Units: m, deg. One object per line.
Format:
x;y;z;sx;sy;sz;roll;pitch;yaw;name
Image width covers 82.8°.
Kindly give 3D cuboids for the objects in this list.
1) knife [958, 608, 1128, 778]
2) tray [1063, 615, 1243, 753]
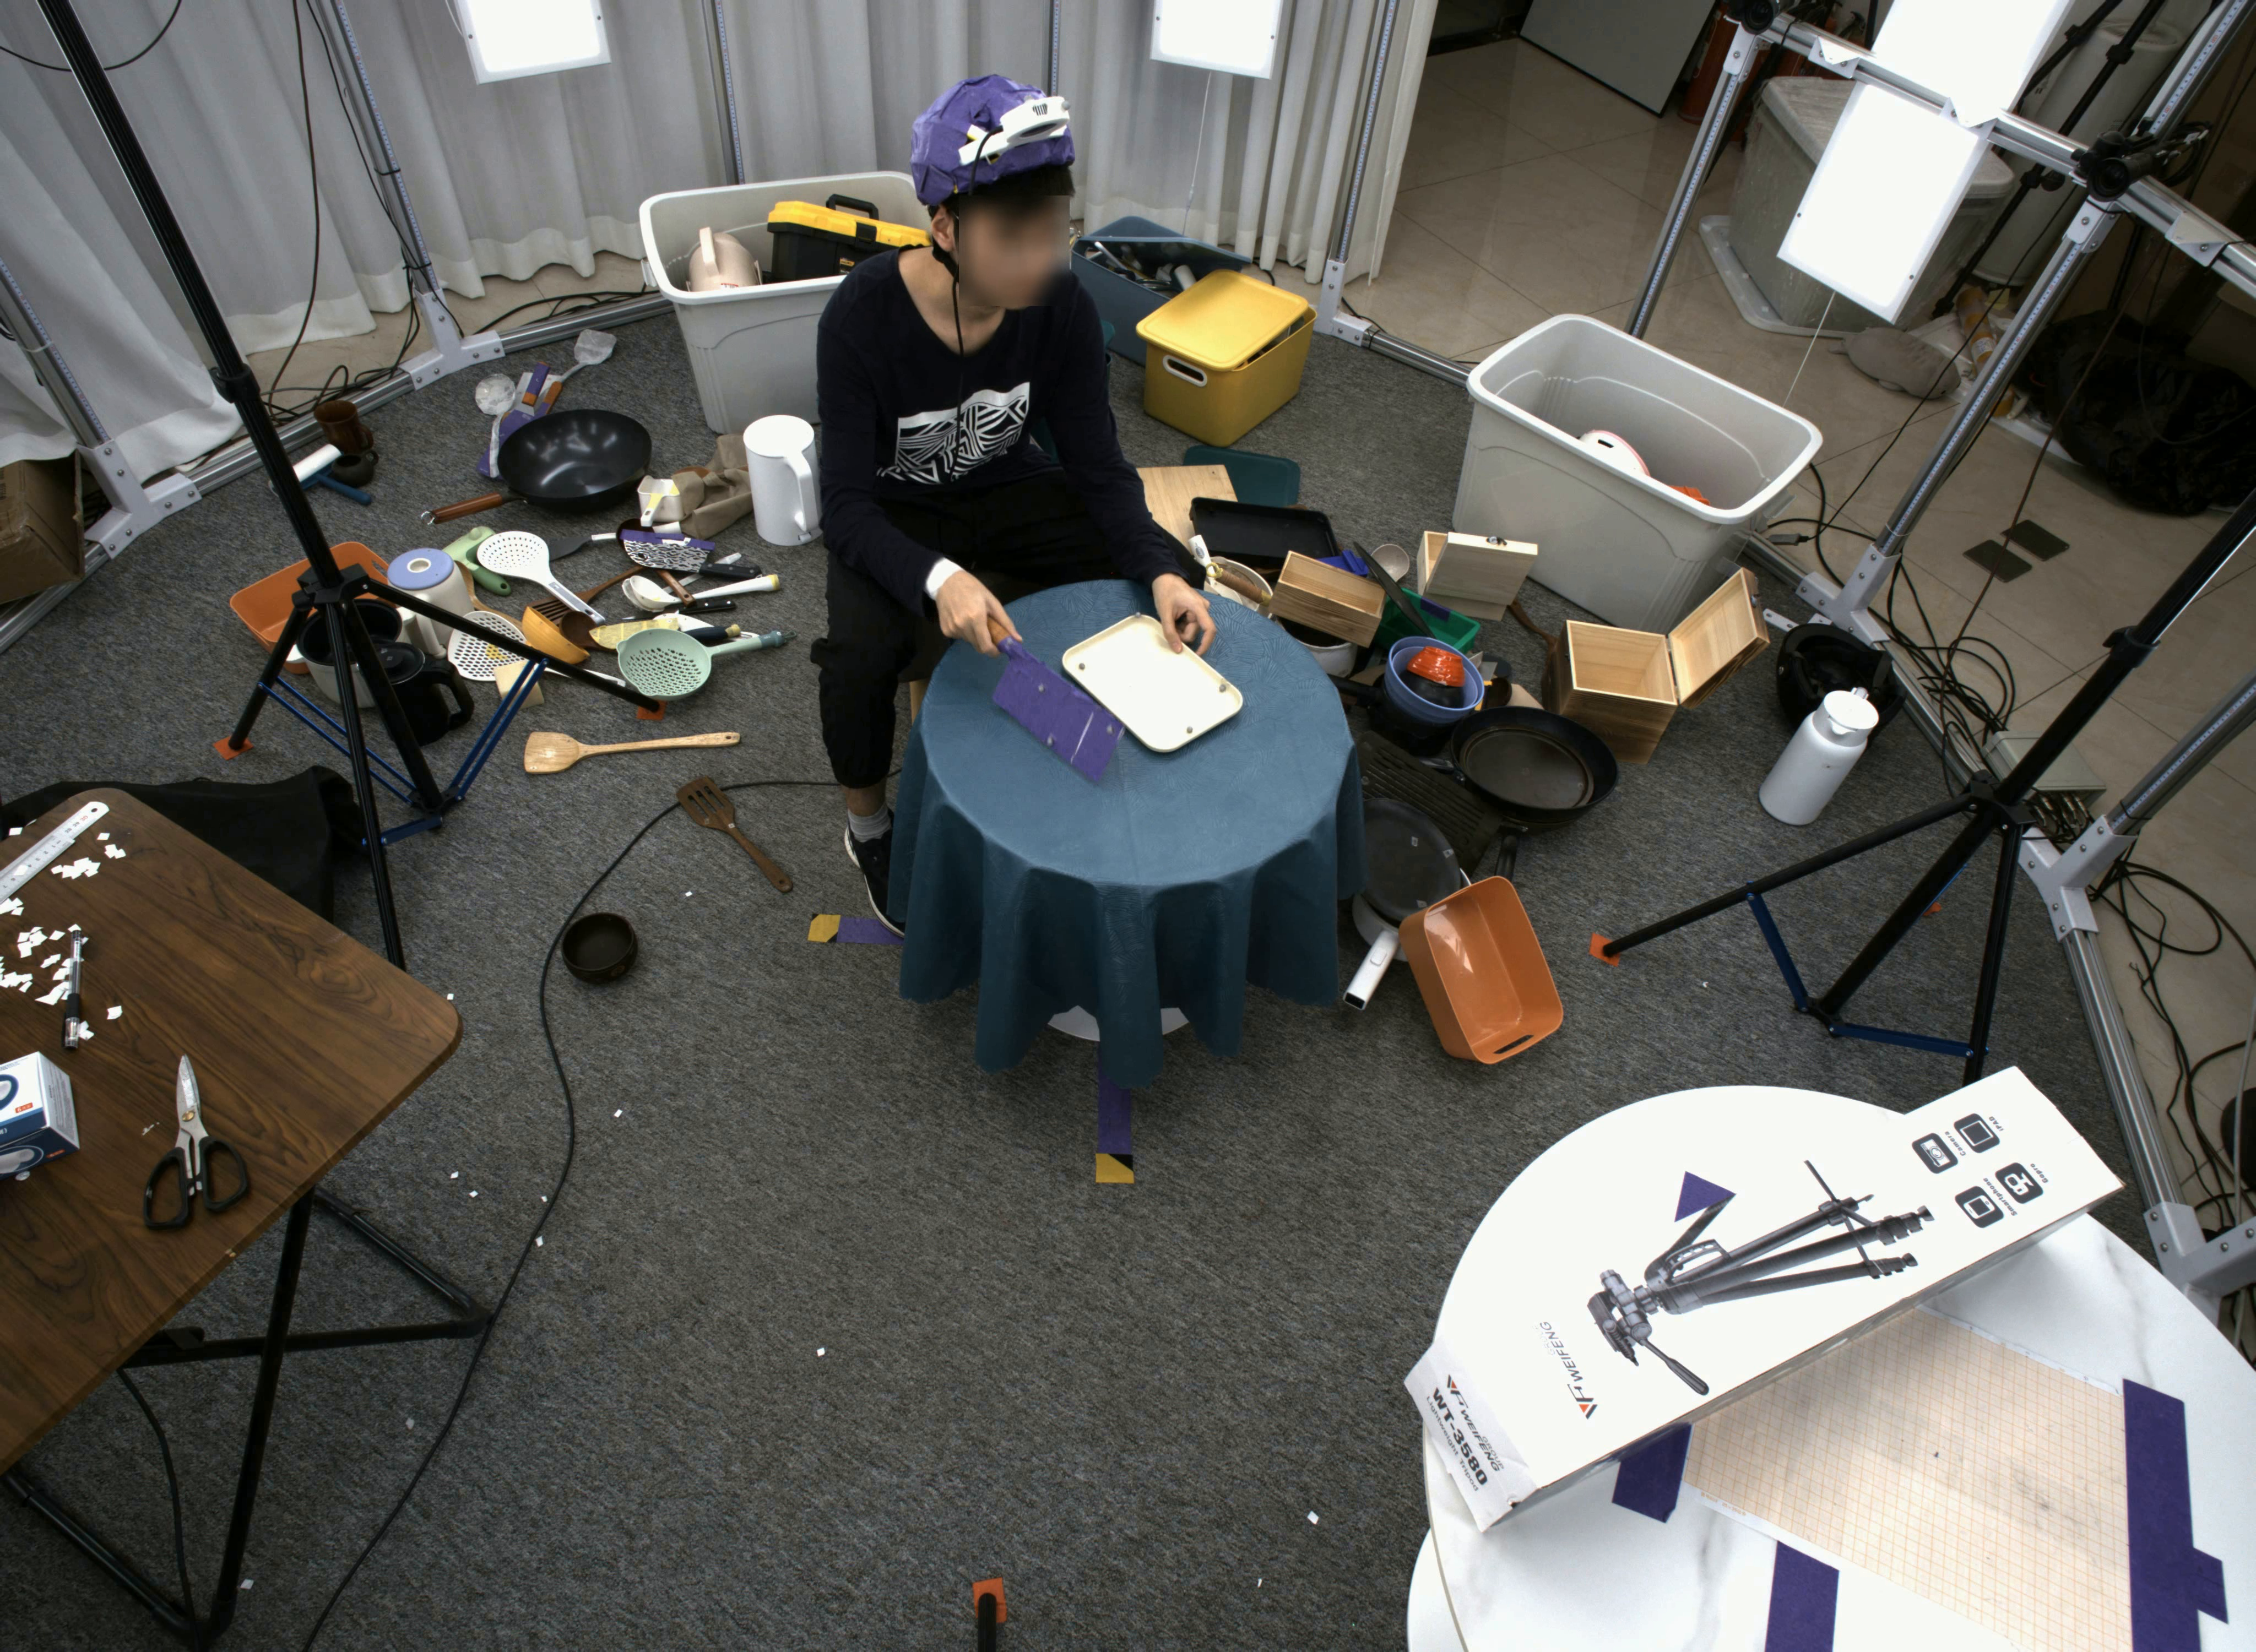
-0.133;-0.180;1.746;0.320;0.102;0.032;40;22;27;knife
0.034;-0.205;1.832;0.172;0.017;0.244;-31;58;-24;tray
